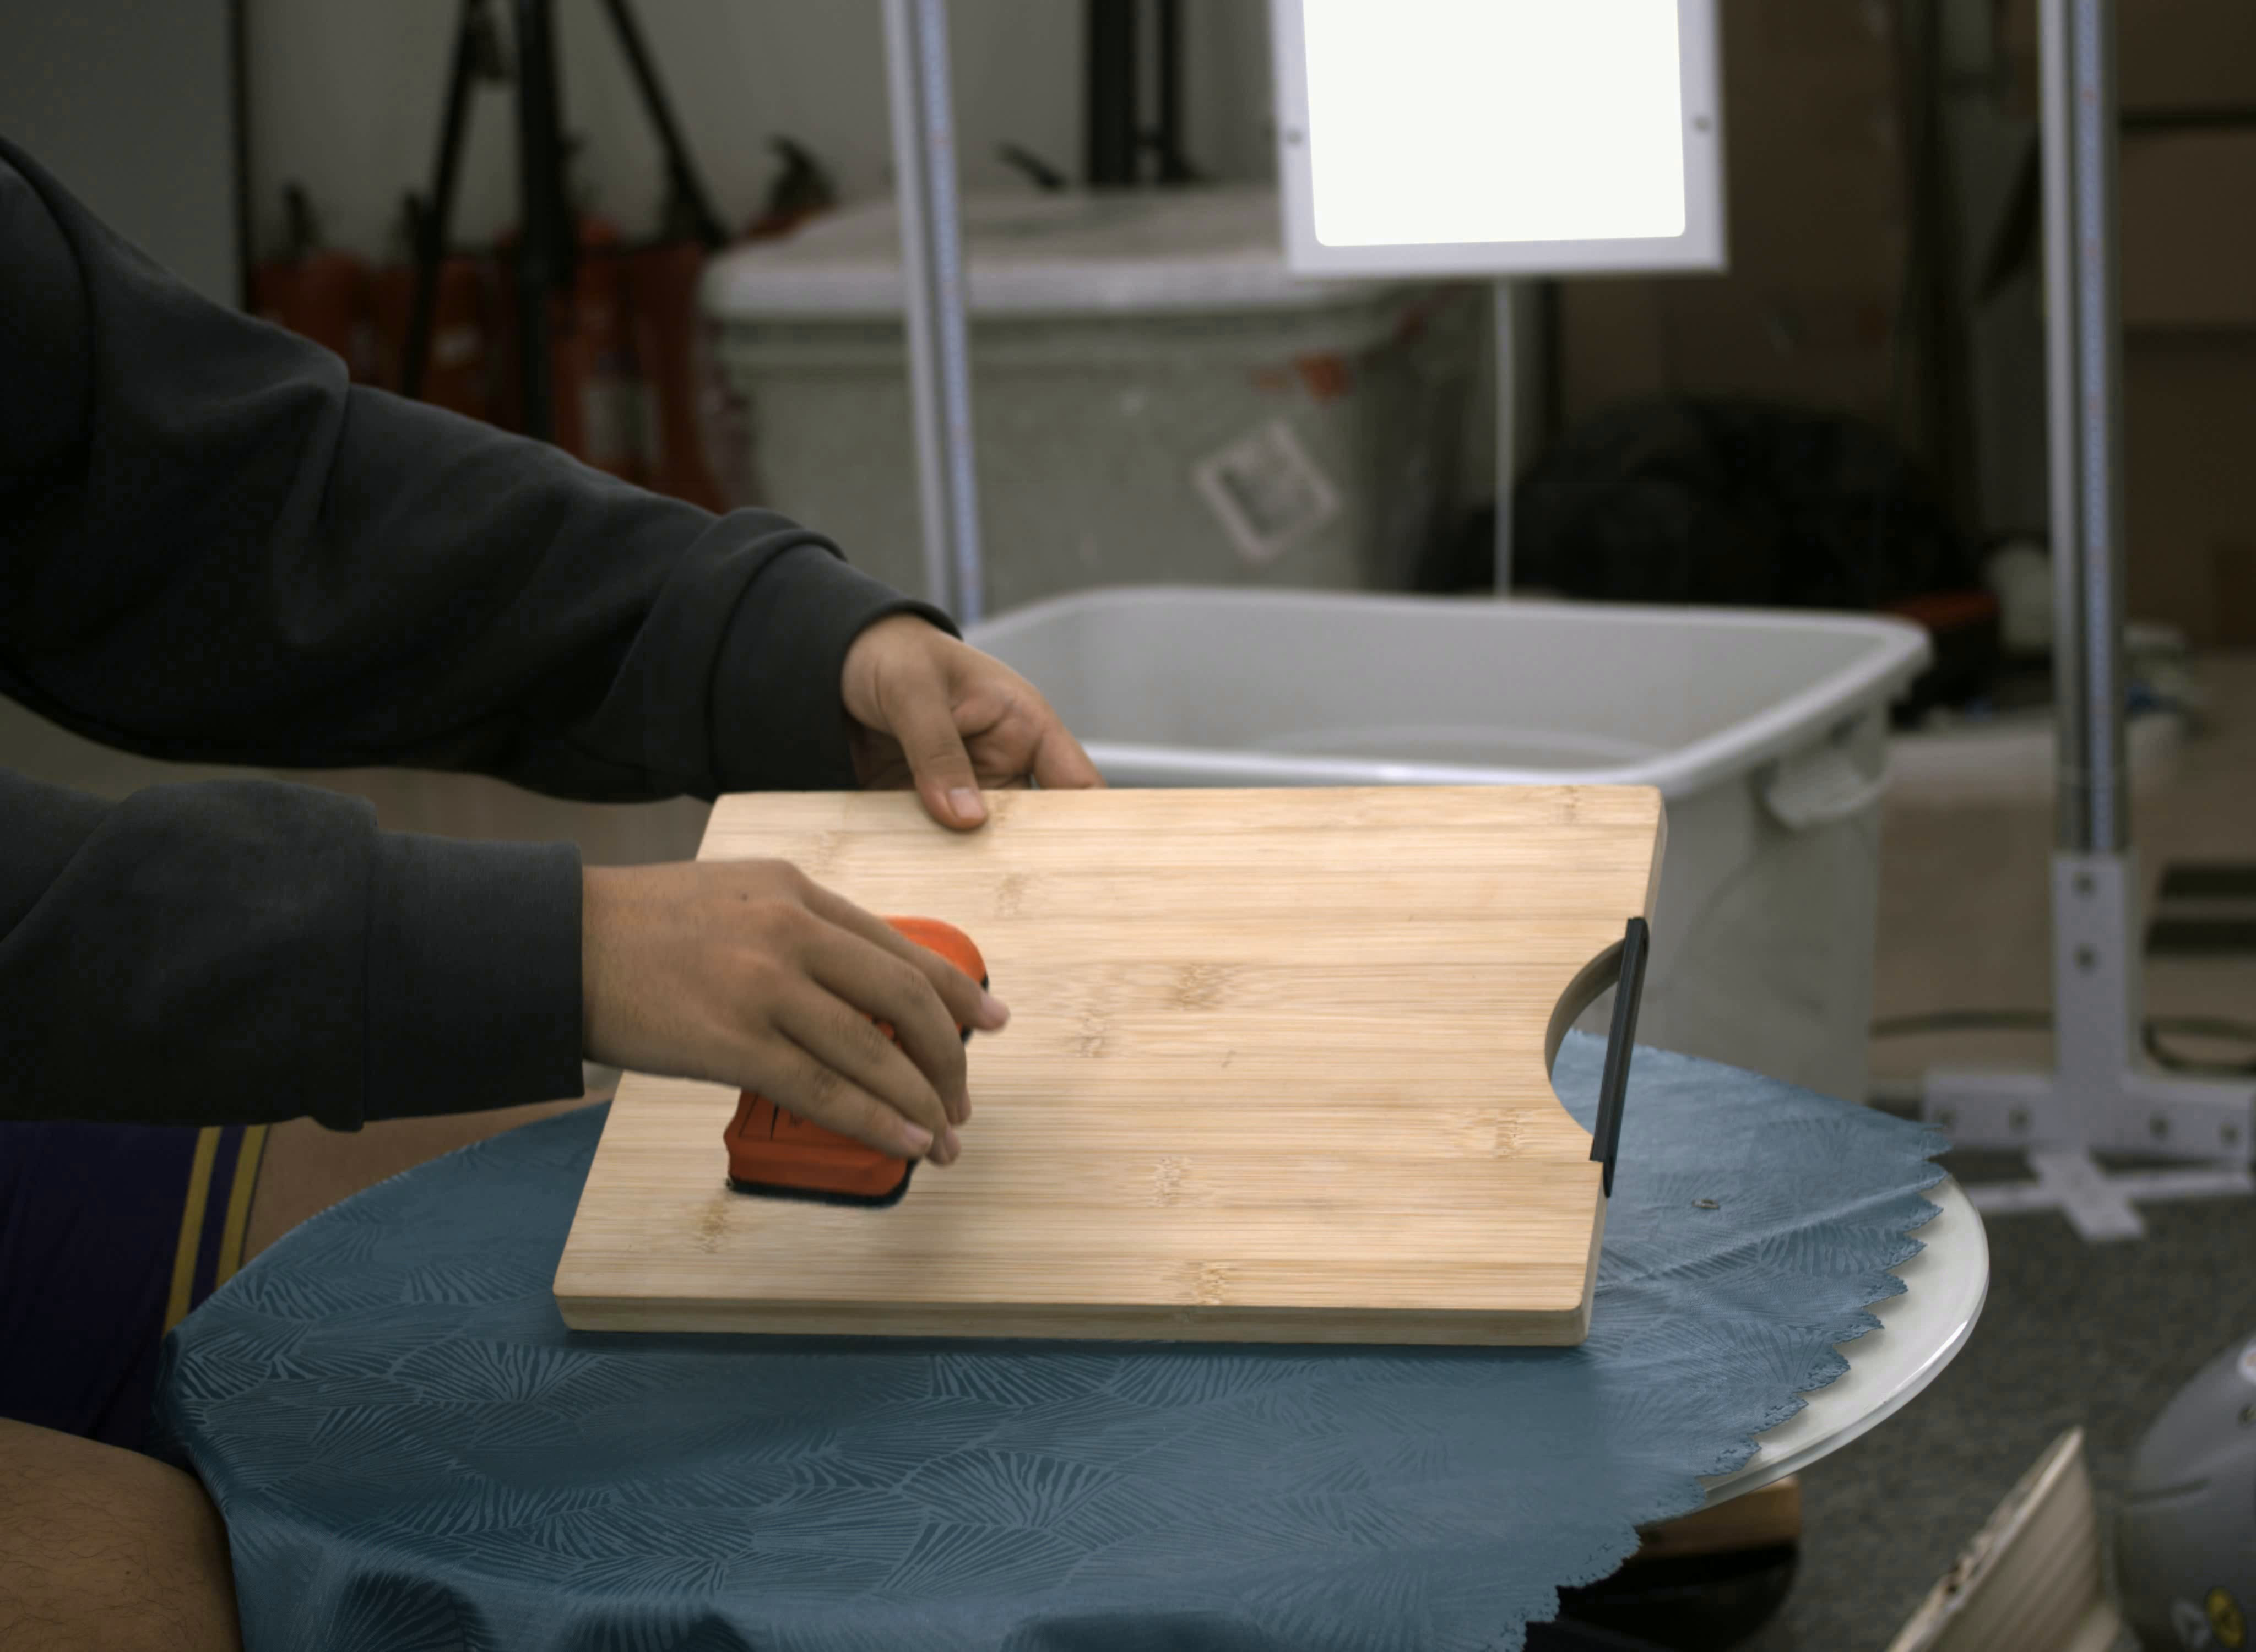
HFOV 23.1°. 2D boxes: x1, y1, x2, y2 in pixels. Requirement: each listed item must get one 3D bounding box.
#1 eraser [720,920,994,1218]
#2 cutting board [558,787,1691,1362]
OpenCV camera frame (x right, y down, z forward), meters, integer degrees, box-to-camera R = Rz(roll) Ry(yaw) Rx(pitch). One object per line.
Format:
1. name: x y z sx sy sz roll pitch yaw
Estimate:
1. eraser: -0.085 0.076 1.735 0.060 0.023 0.106 5 45 21
2. cutting board: 0.004 0.076 1.829 0.352 0.023 0.248 -2 44 16
